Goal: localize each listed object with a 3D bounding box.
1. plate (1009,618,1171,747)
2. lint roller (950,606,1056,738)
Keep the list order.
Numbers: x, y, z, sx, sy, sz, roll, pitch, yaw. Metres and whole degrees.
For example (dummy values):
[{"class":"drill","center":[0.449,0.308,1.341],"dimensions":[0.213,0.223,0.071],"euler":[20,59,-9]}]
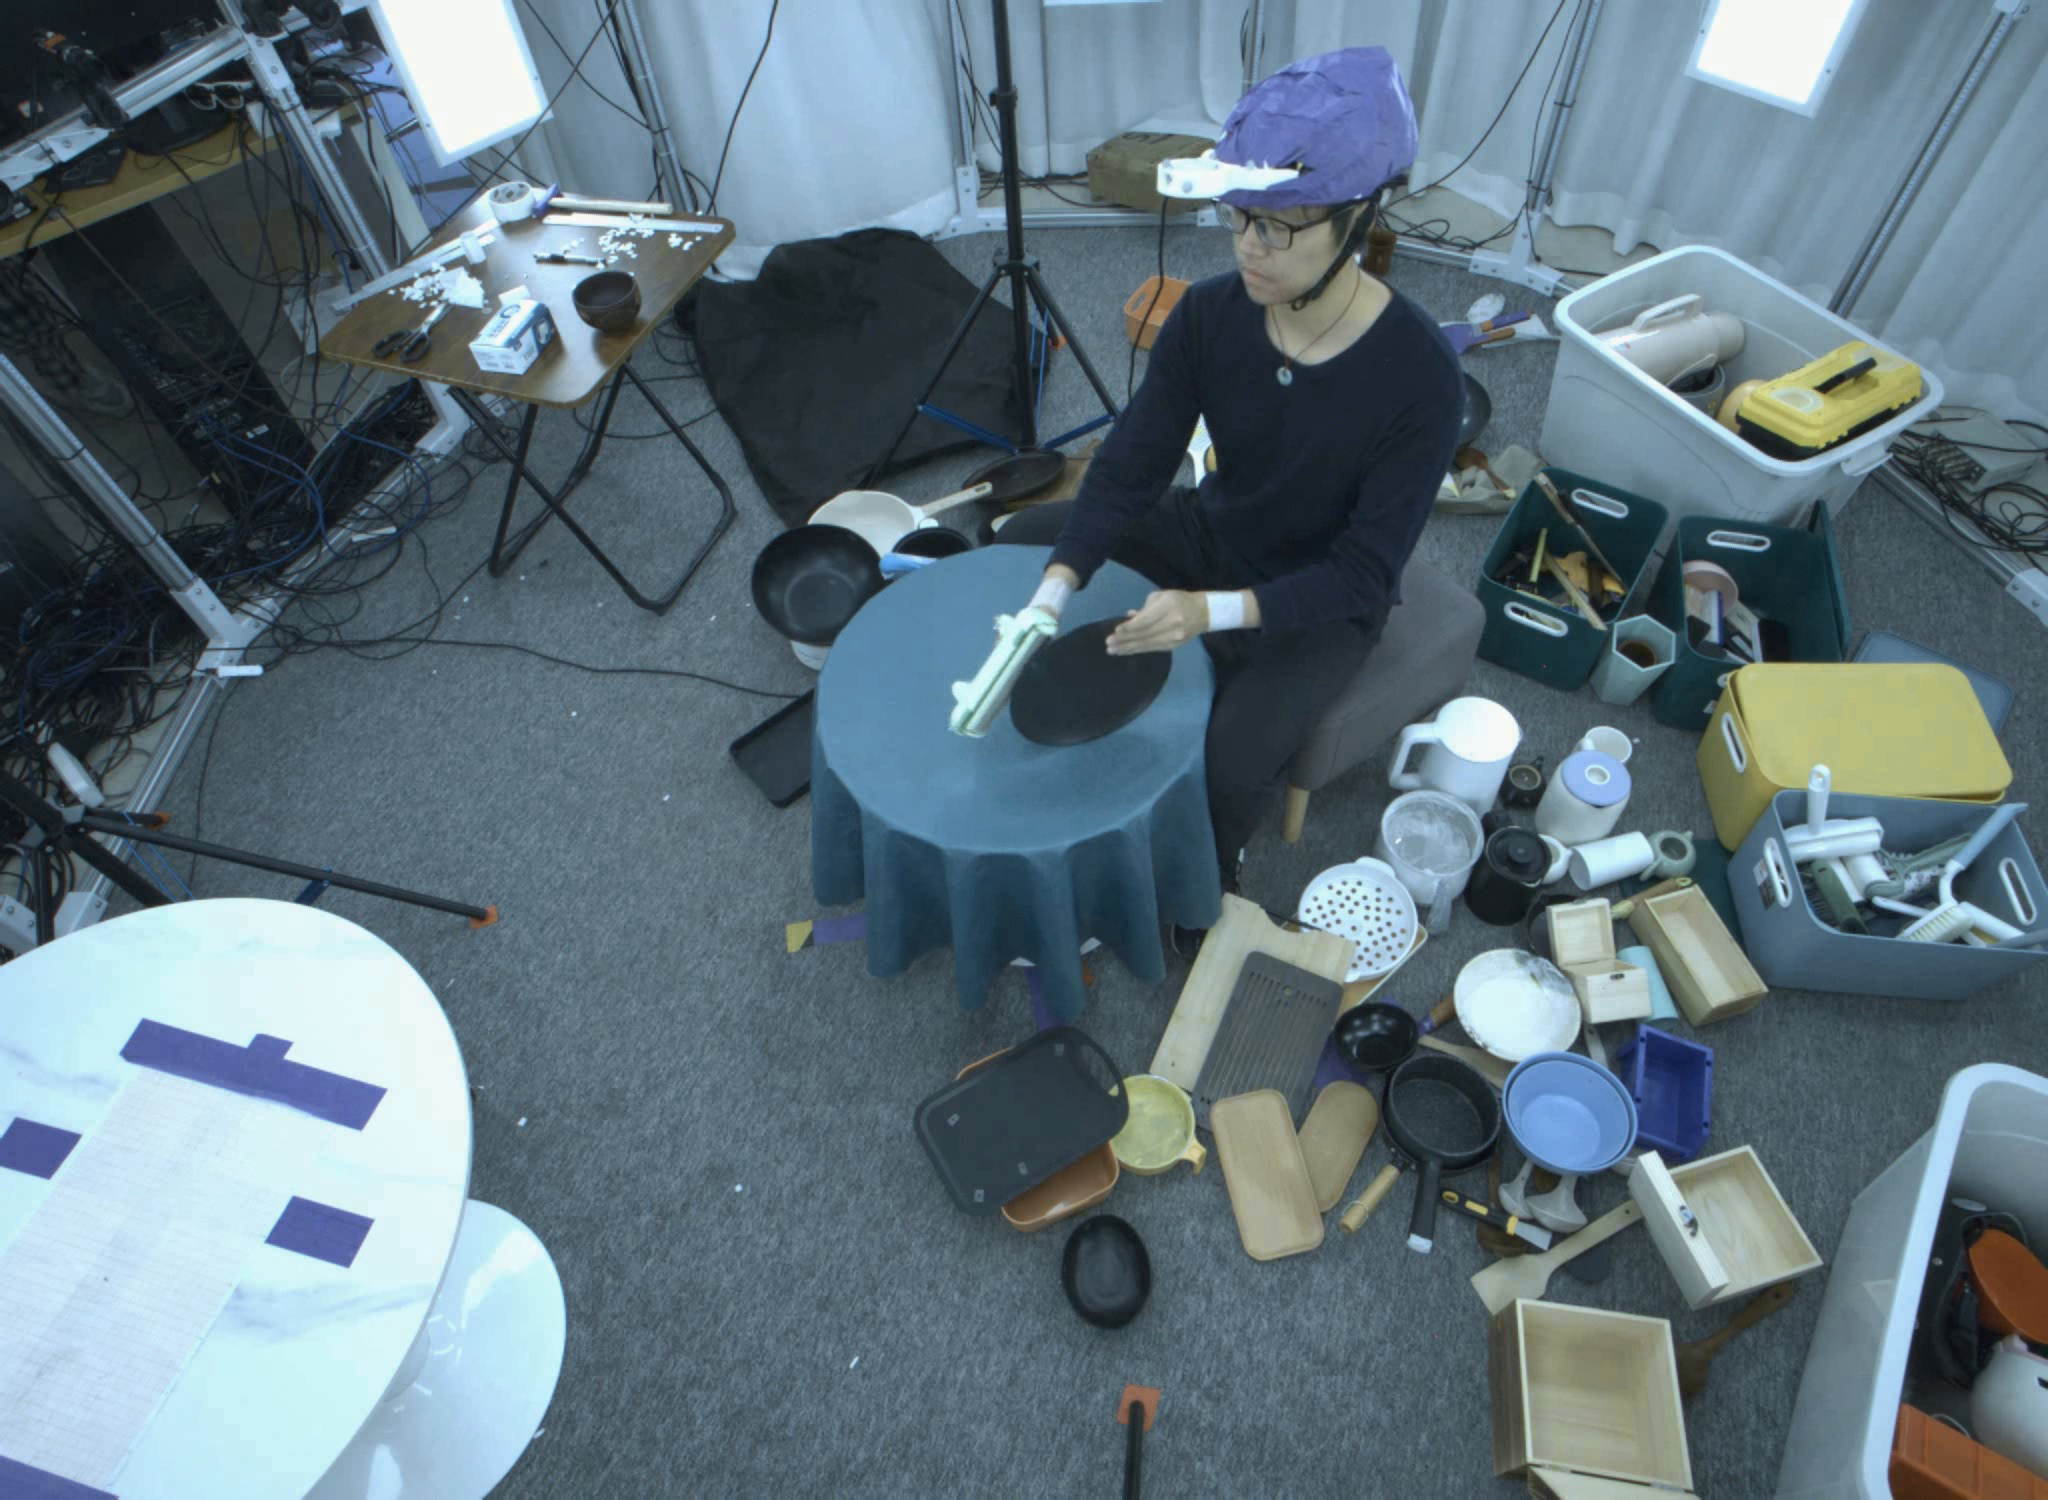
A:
[{"class":"plate","center":[0.089,-0.095,1.701],"dimensions":[0.246,0.247,0.023],"euler":[-20,54,-10]},{"class":"lint roller","center":[-0.029,-0.129,1.692],"dimensions":[0.083,0.198,0.182],"euler":[33,24,-8]}]
